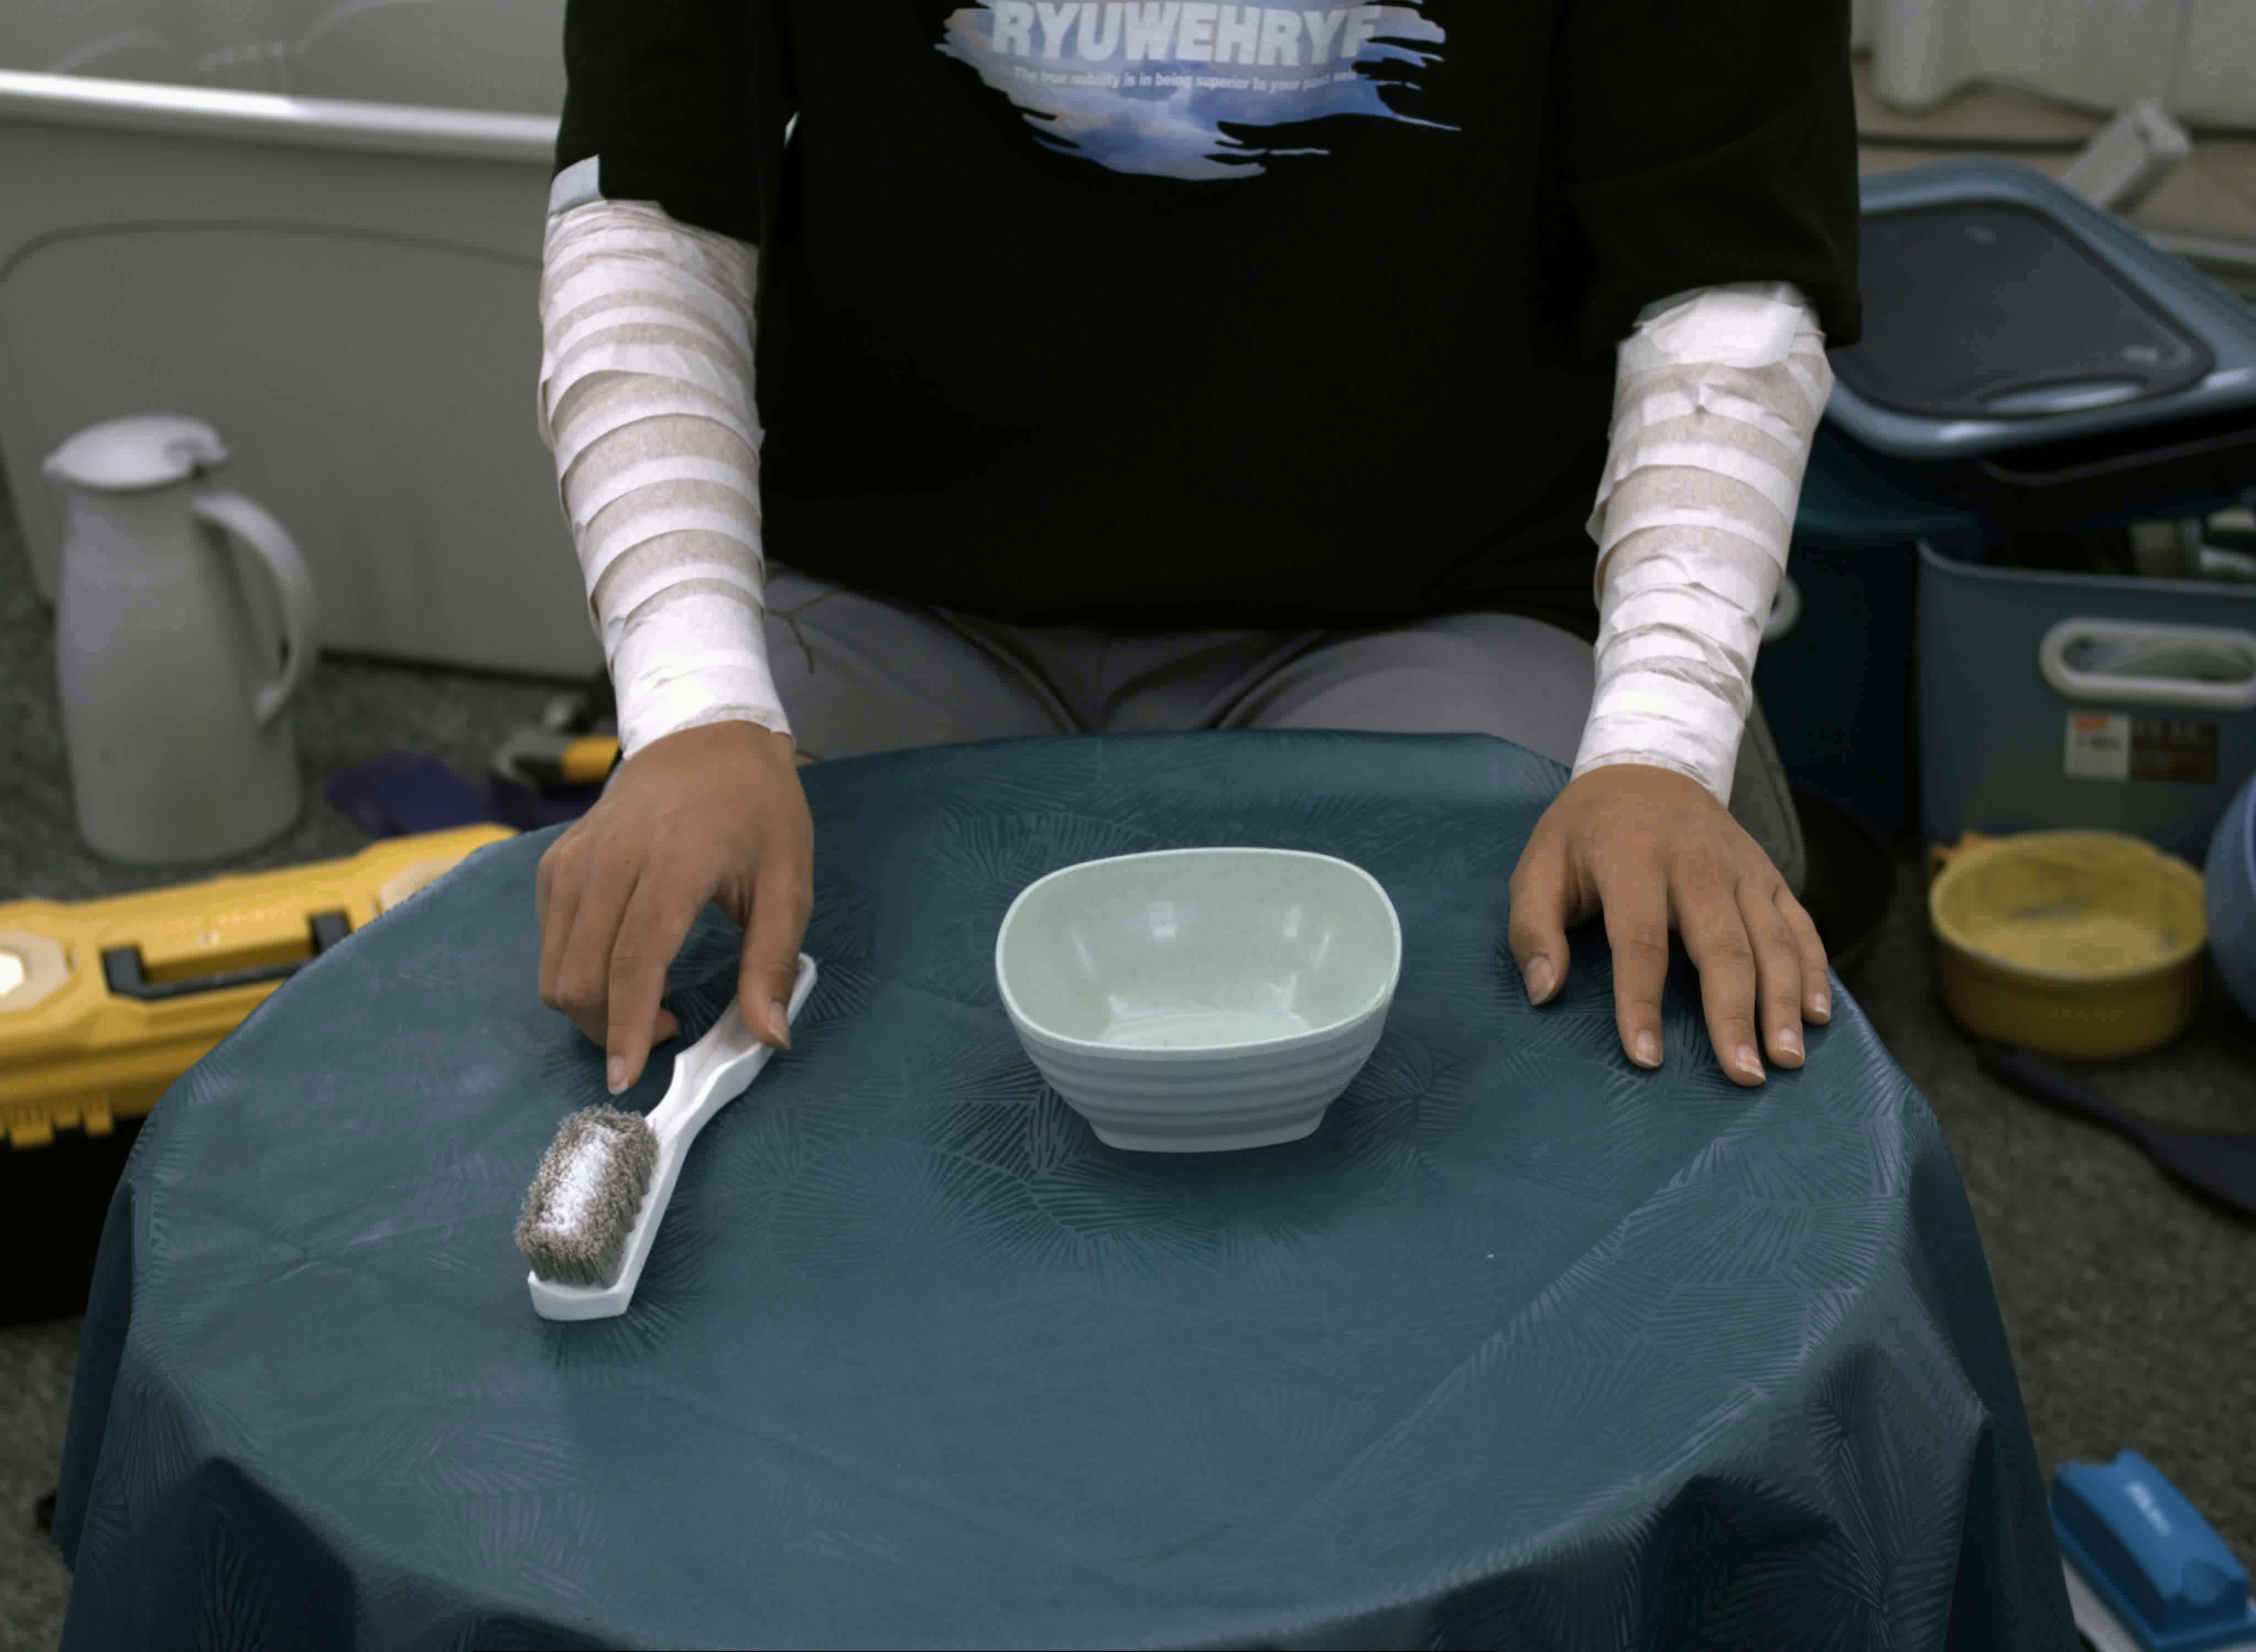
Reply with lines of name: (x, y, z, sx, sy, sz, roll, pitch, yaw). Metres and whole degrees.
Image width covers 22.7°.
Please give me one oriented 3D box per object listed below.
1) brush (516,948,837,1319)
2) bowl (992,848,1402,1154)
brush: (-0.148, 0.086, 1.891, 0.034, 0.049, 0.248, 8, 29, 15)
bowl: (0.024, 0.065, 1.908, 0.151, 0.058, 0.154, -1, 27, 1)
